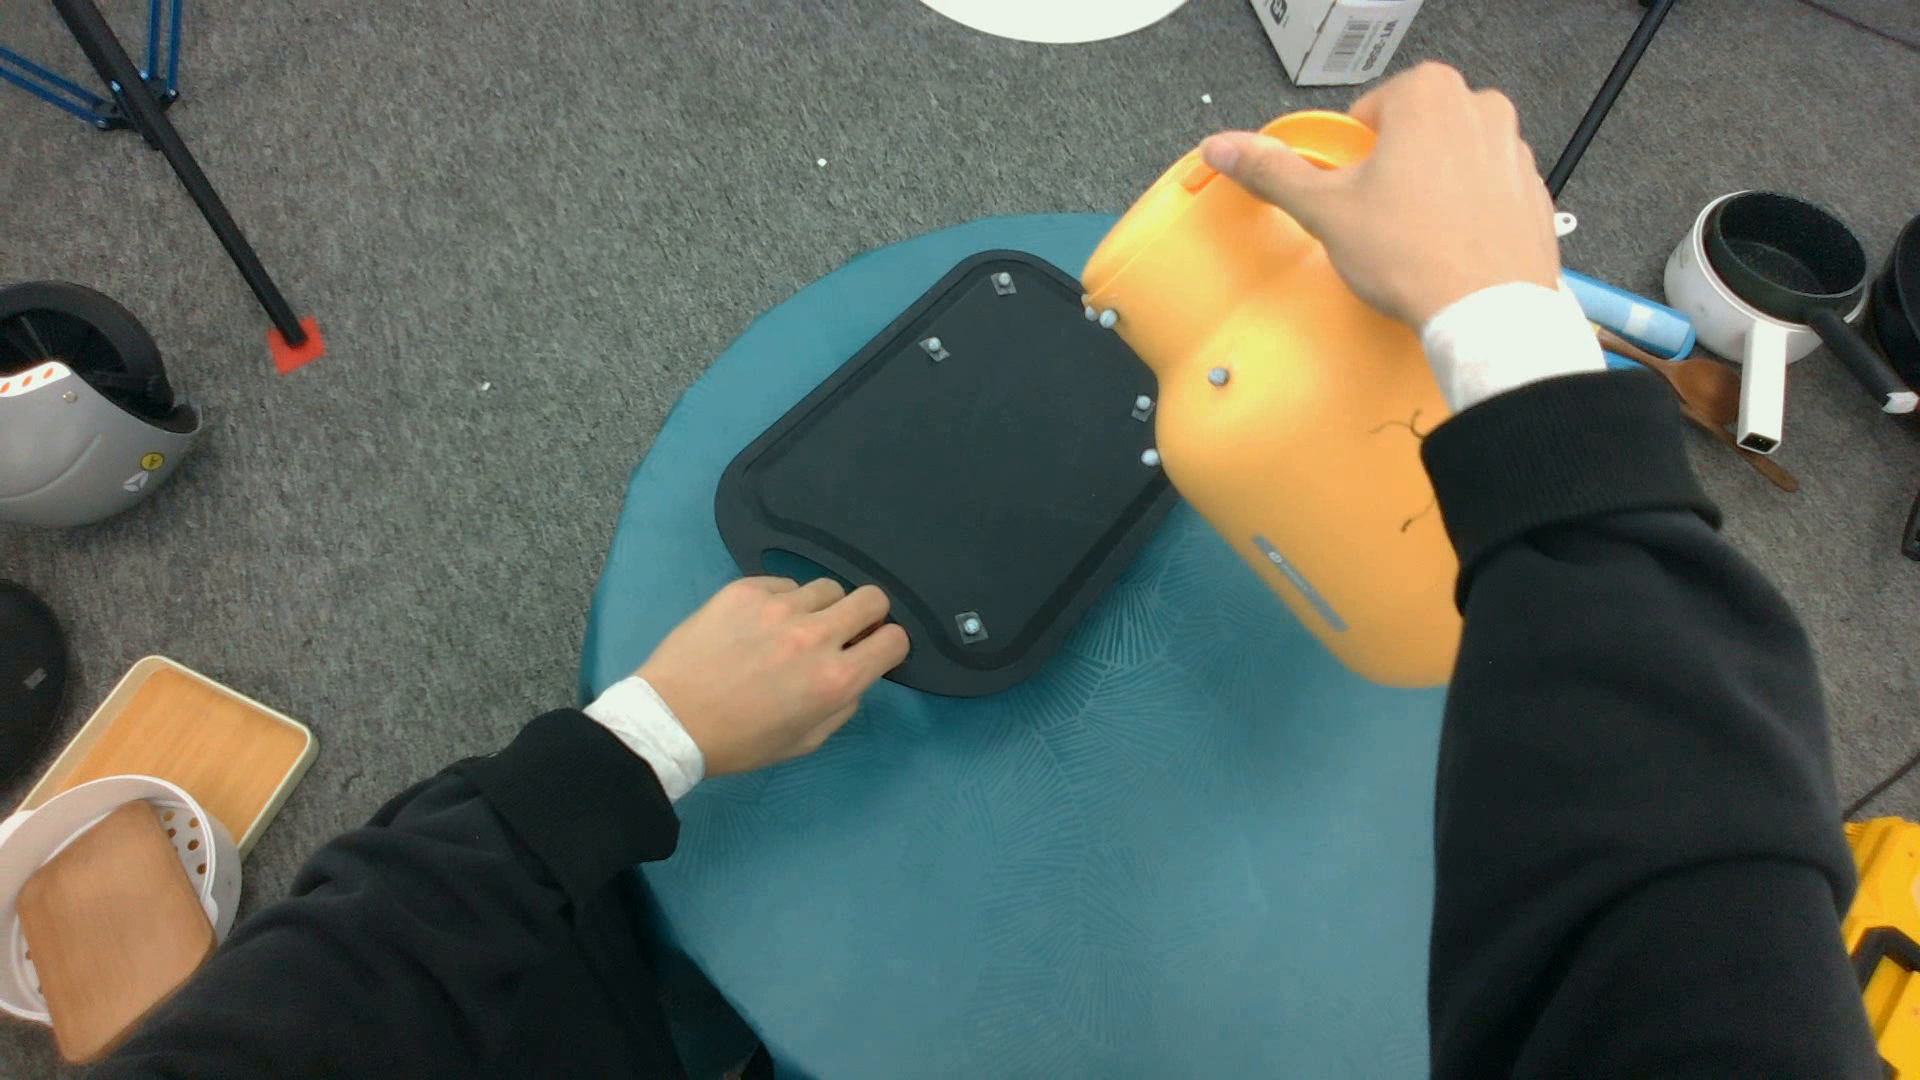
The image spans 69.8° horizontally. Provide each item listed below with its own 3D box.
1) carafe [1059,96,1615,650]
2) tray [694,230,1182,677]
[{"bbox_3d":[0.172,-0.082,0.629,0.260,0.201,0.164,41,69,-8],"label":"carafe"},{"bbox_3d":[0.004,-0.061,0.800,0.211,0.010,0.327,35,56,12],"label":"tray"}]
